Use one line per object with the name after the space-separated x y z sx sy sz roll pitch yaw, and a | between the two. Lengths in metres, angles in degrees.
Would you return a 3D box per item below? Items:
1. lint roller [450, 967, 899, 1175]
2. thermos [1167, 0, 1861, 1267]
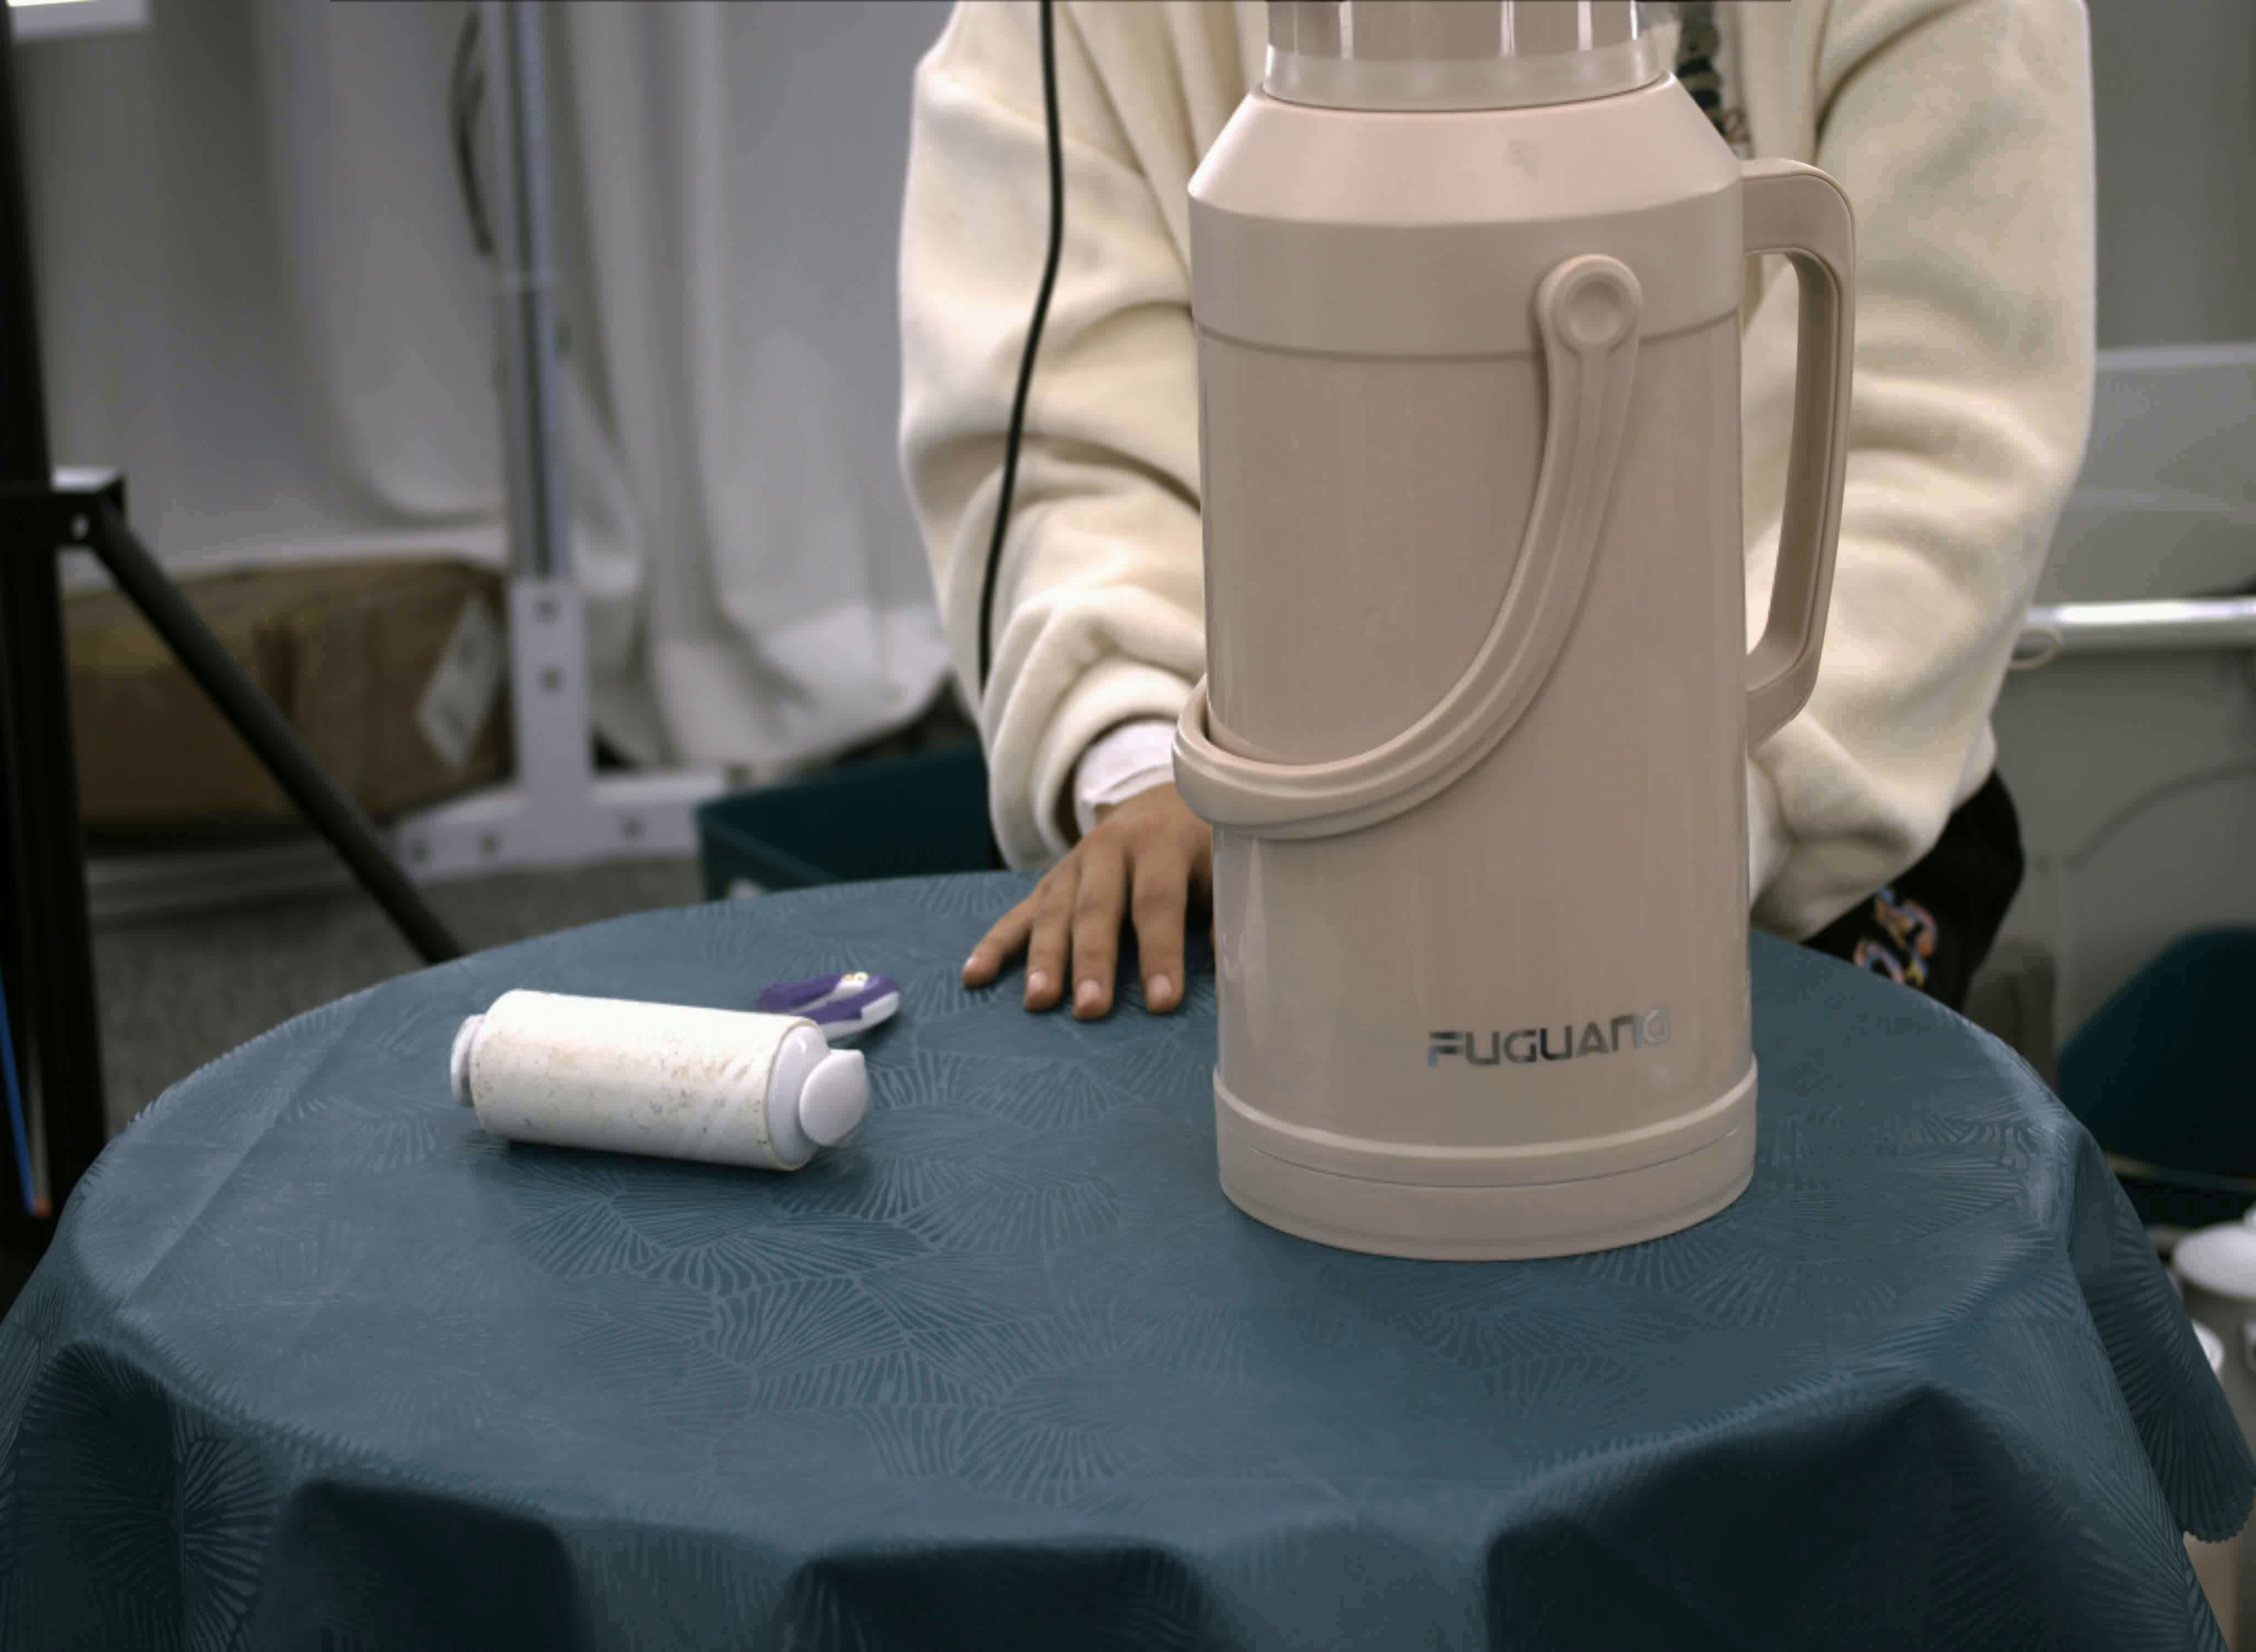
-0.116 0.059 1.663 0.135 0.050 0.178 4 19 26 | lint roller
0.111 -0.090 1.513 0.203 0.406 0.178 -7 15 -18 | thermos
